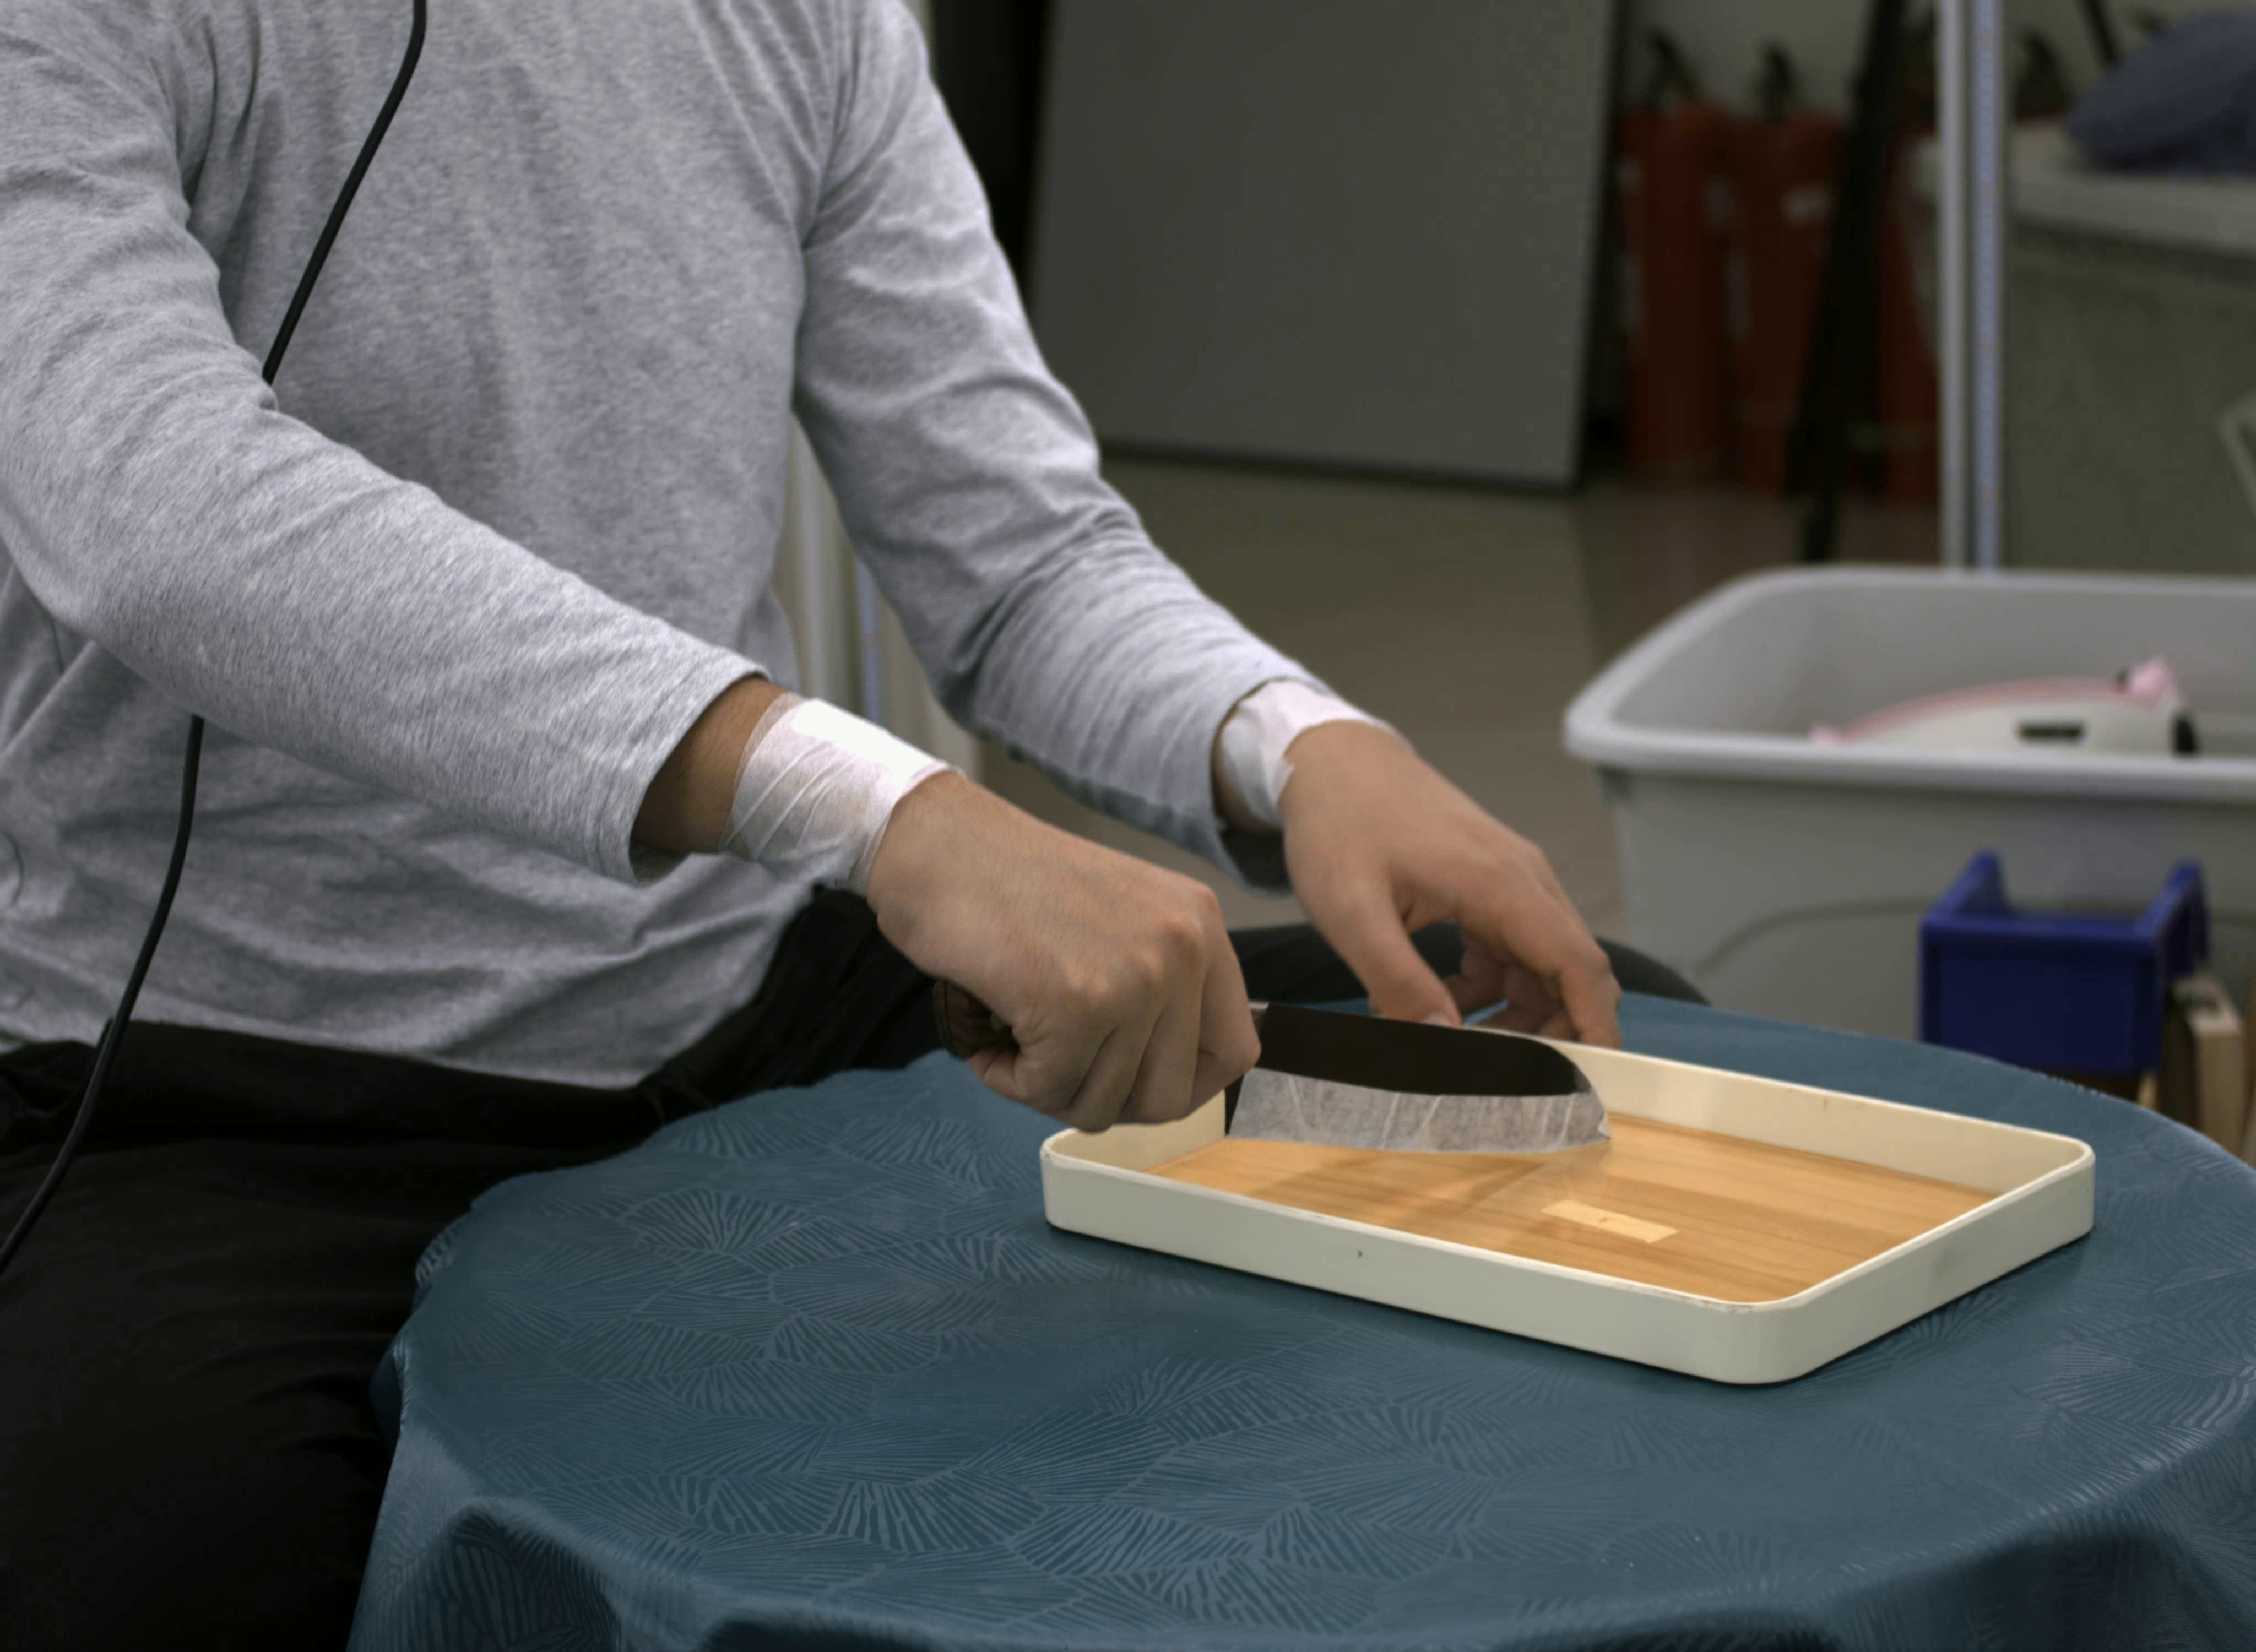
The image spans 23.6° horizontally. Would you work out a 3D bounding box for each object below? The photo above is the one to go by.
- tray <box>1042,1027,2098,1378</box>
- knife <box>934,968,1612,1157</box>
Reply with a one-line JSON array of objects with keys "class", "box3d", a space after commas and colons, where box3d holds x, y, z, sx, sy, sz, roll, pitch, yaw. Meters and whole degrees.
[{"class": "tray", "box3d": [0.137, 0.114, 1.707, 0.303, 0.028, 0.188, 8, 18, 43]}, {"class": "knife", "box3d": [0.052, 0.076, 1.686, 0.282, 0.051, 0.020, 12, 7, -39]}]
